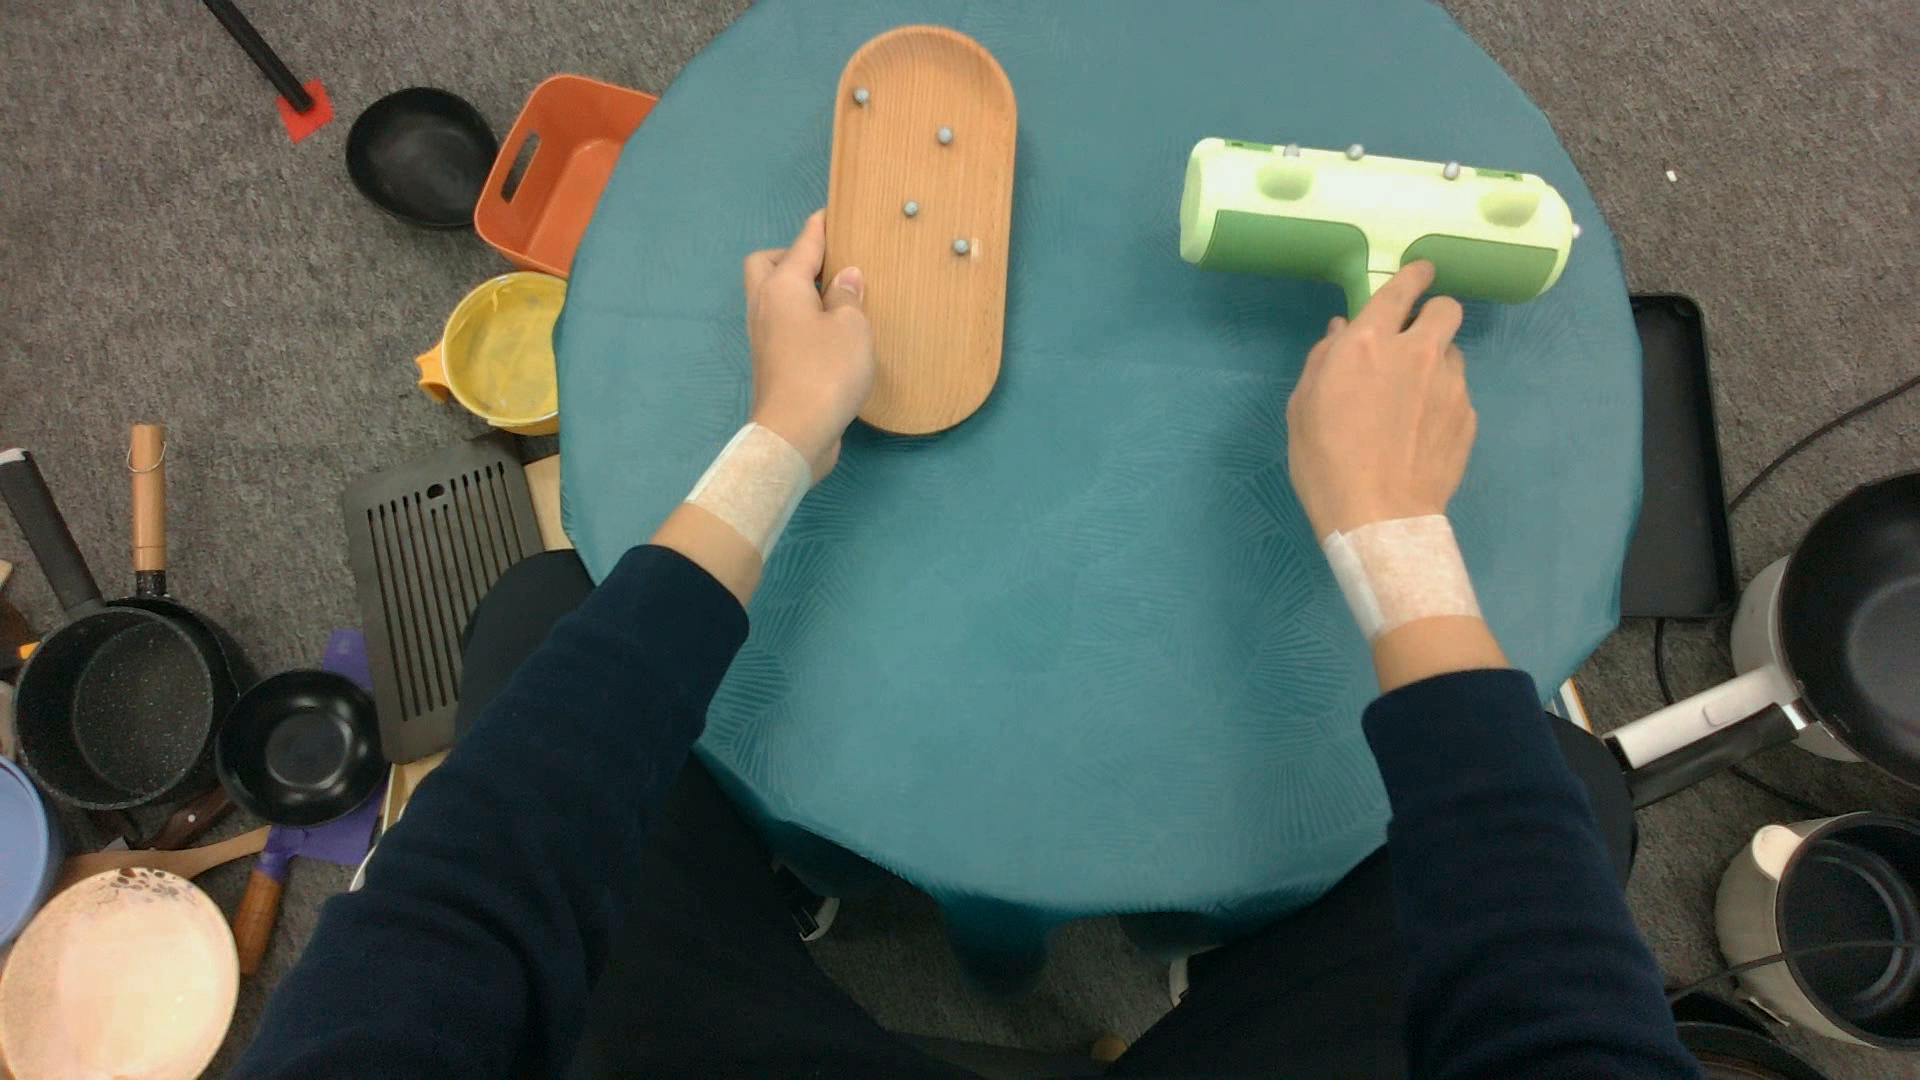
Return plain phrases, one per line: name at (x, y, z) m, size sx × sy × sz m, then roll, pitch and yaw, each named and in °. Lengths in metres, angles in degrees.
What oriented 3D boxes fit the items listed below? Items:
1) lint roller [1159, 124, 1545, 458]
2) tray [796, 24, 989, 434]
lint roller at (0.204, -0.134, 0.684) m, size 0.199 × 0.082 × 0.184 m, roll 4°, pitch 56°, yaw -6°
tray at (-0.036, -0.171, 0.752) m, size 0.102 × 0.020 × 0.231 m, roll 3°, pitch 83°, yaw -8°
